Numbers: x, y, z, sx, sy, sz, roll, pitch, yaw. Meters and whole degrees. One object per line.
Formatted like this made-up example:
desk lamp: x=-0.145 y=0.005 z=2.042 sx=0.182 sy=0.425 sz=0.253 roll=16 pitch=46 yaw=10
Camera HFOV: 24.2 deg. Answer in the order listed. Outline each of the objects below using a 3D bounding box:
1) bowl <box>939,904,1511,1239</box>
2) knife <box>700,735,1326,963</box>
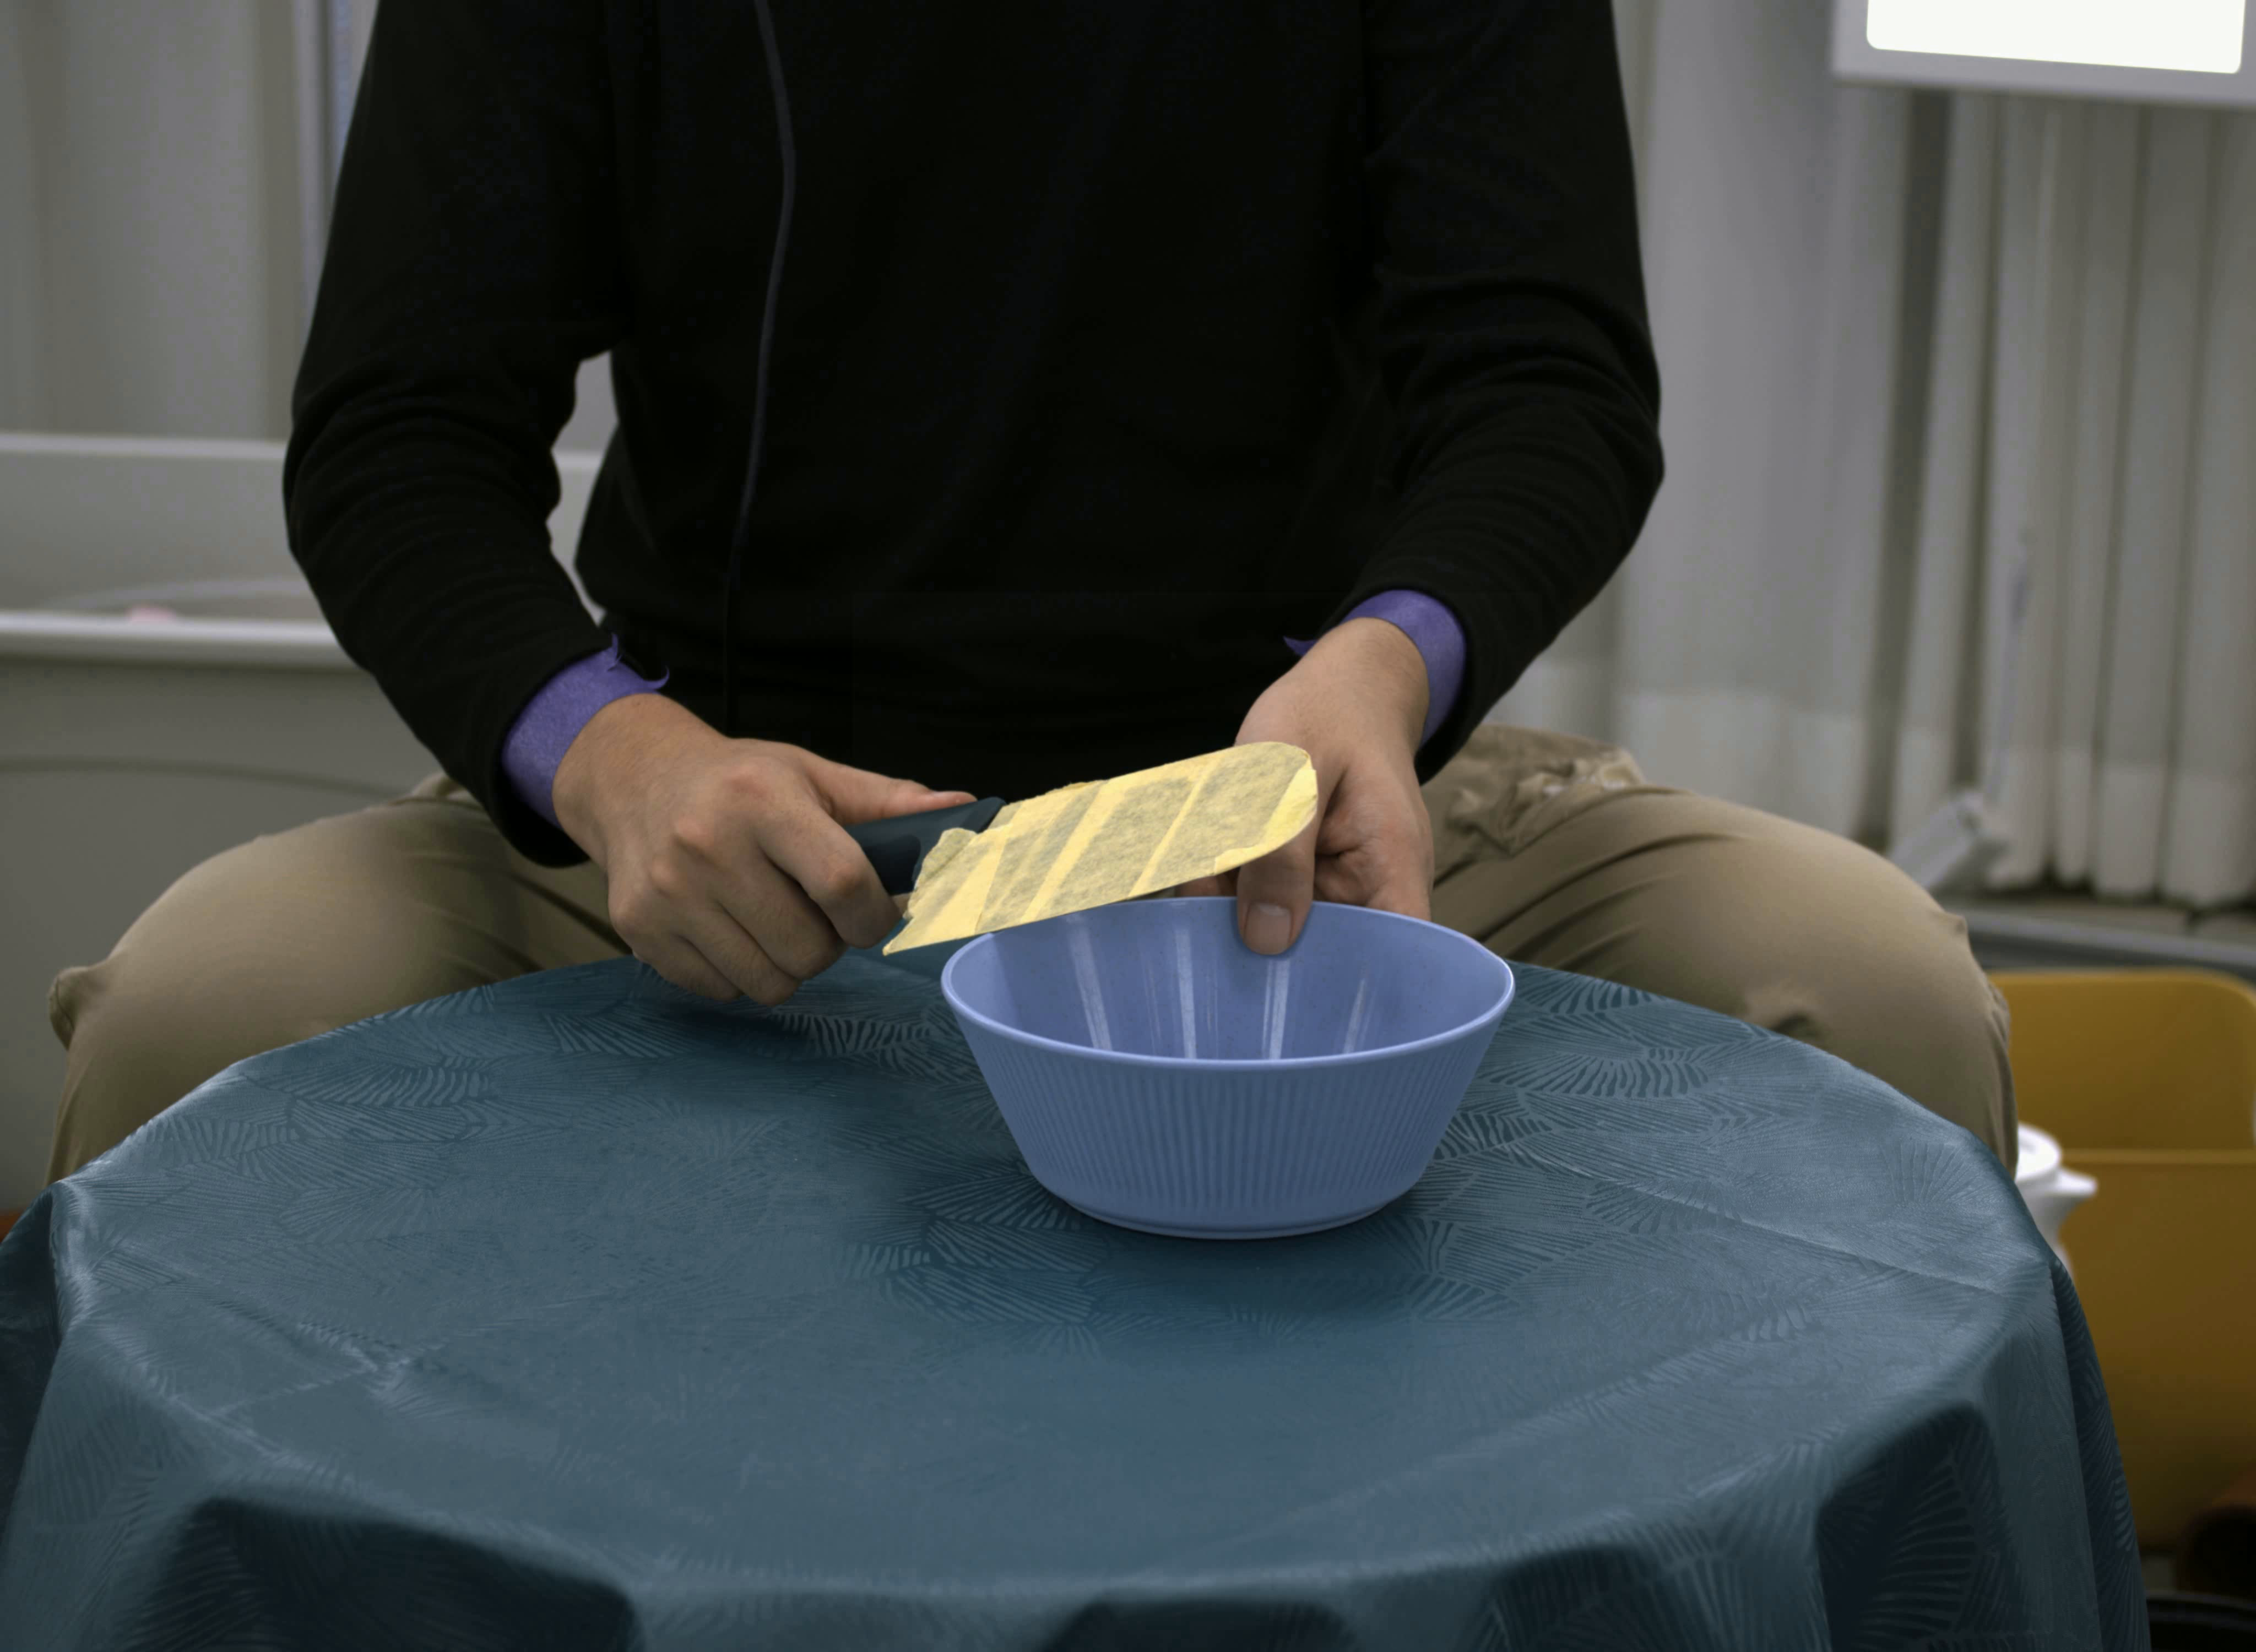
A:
bowl: x=0.030 y=0.077 z=1.619 sx=0.175 sy=0.071 sz=0.175 roll=0 pitch=15 yaw=1
knife: x=-0.043 y=0.015 z=1.696 sx=0.287 sy=0.027 sz=0.081 roll=-15 pitch=28 yaw=43
